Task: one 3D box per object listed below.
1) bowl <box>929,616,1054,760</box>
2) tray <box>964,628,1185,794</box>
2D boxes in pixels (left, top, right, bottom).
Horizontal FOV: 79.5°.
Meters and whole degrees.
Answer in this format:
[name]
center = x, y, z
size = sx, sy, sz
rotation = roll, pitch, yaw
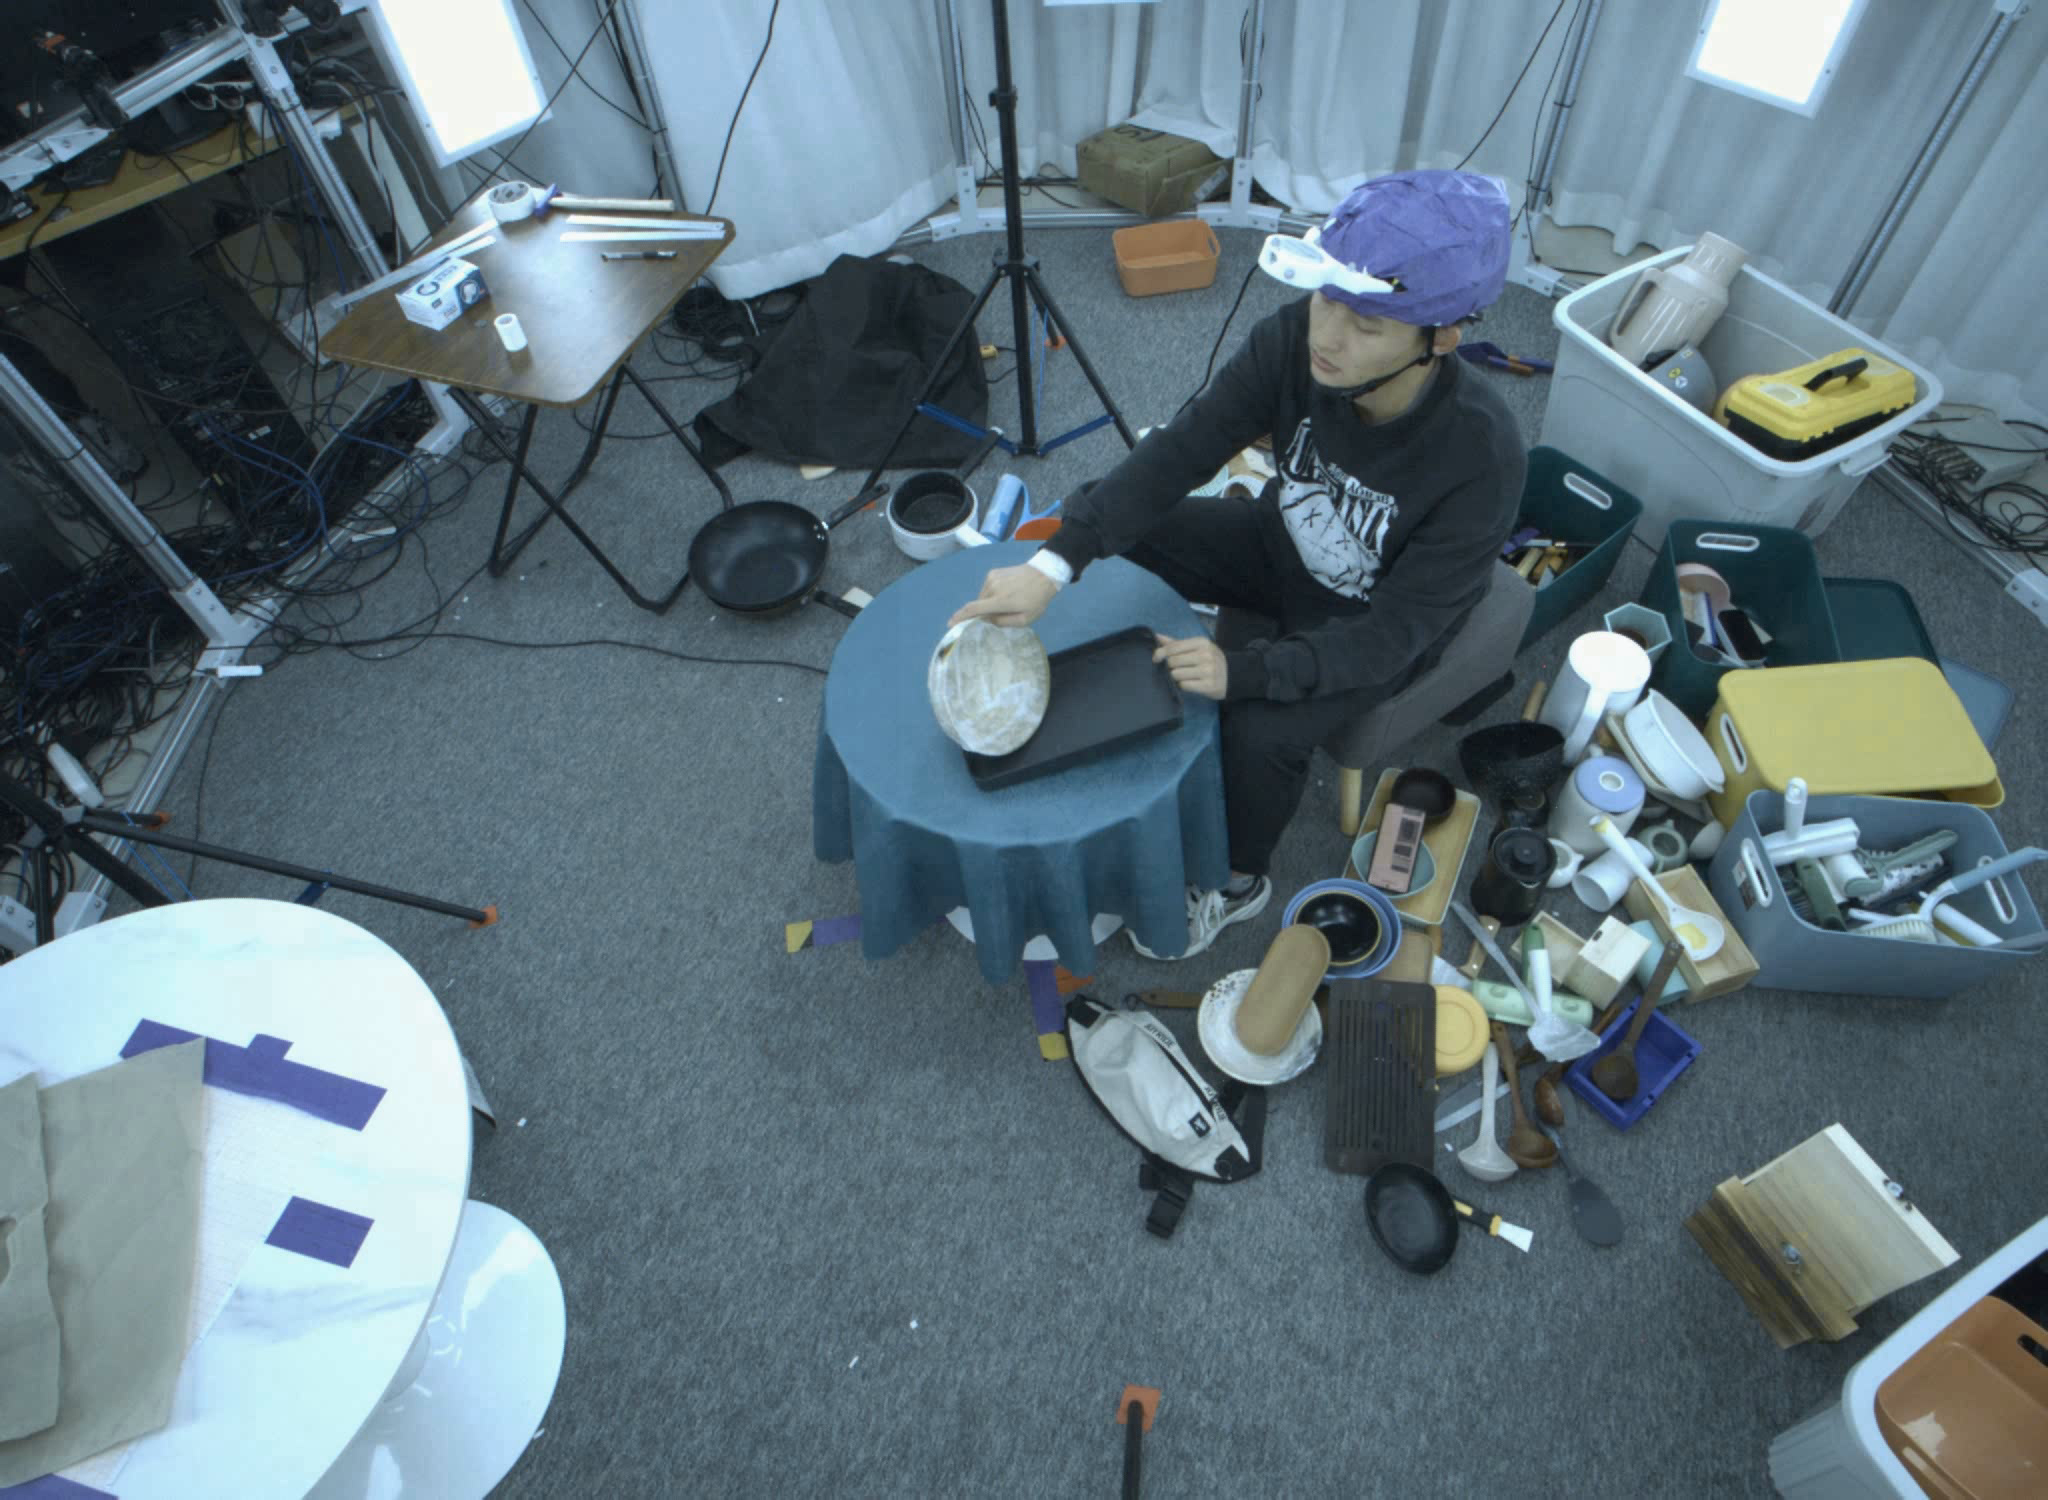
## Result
[bowl]
center = -0.059, -0.091, 1.747
size = 0.092, 0.219, 0.215
rotation = 8, 50, 45
[tray]
center = 0.062, -0.058, 1.785
size = 0.318, 0.037, 0.181
rotation = -17, 56, 1
